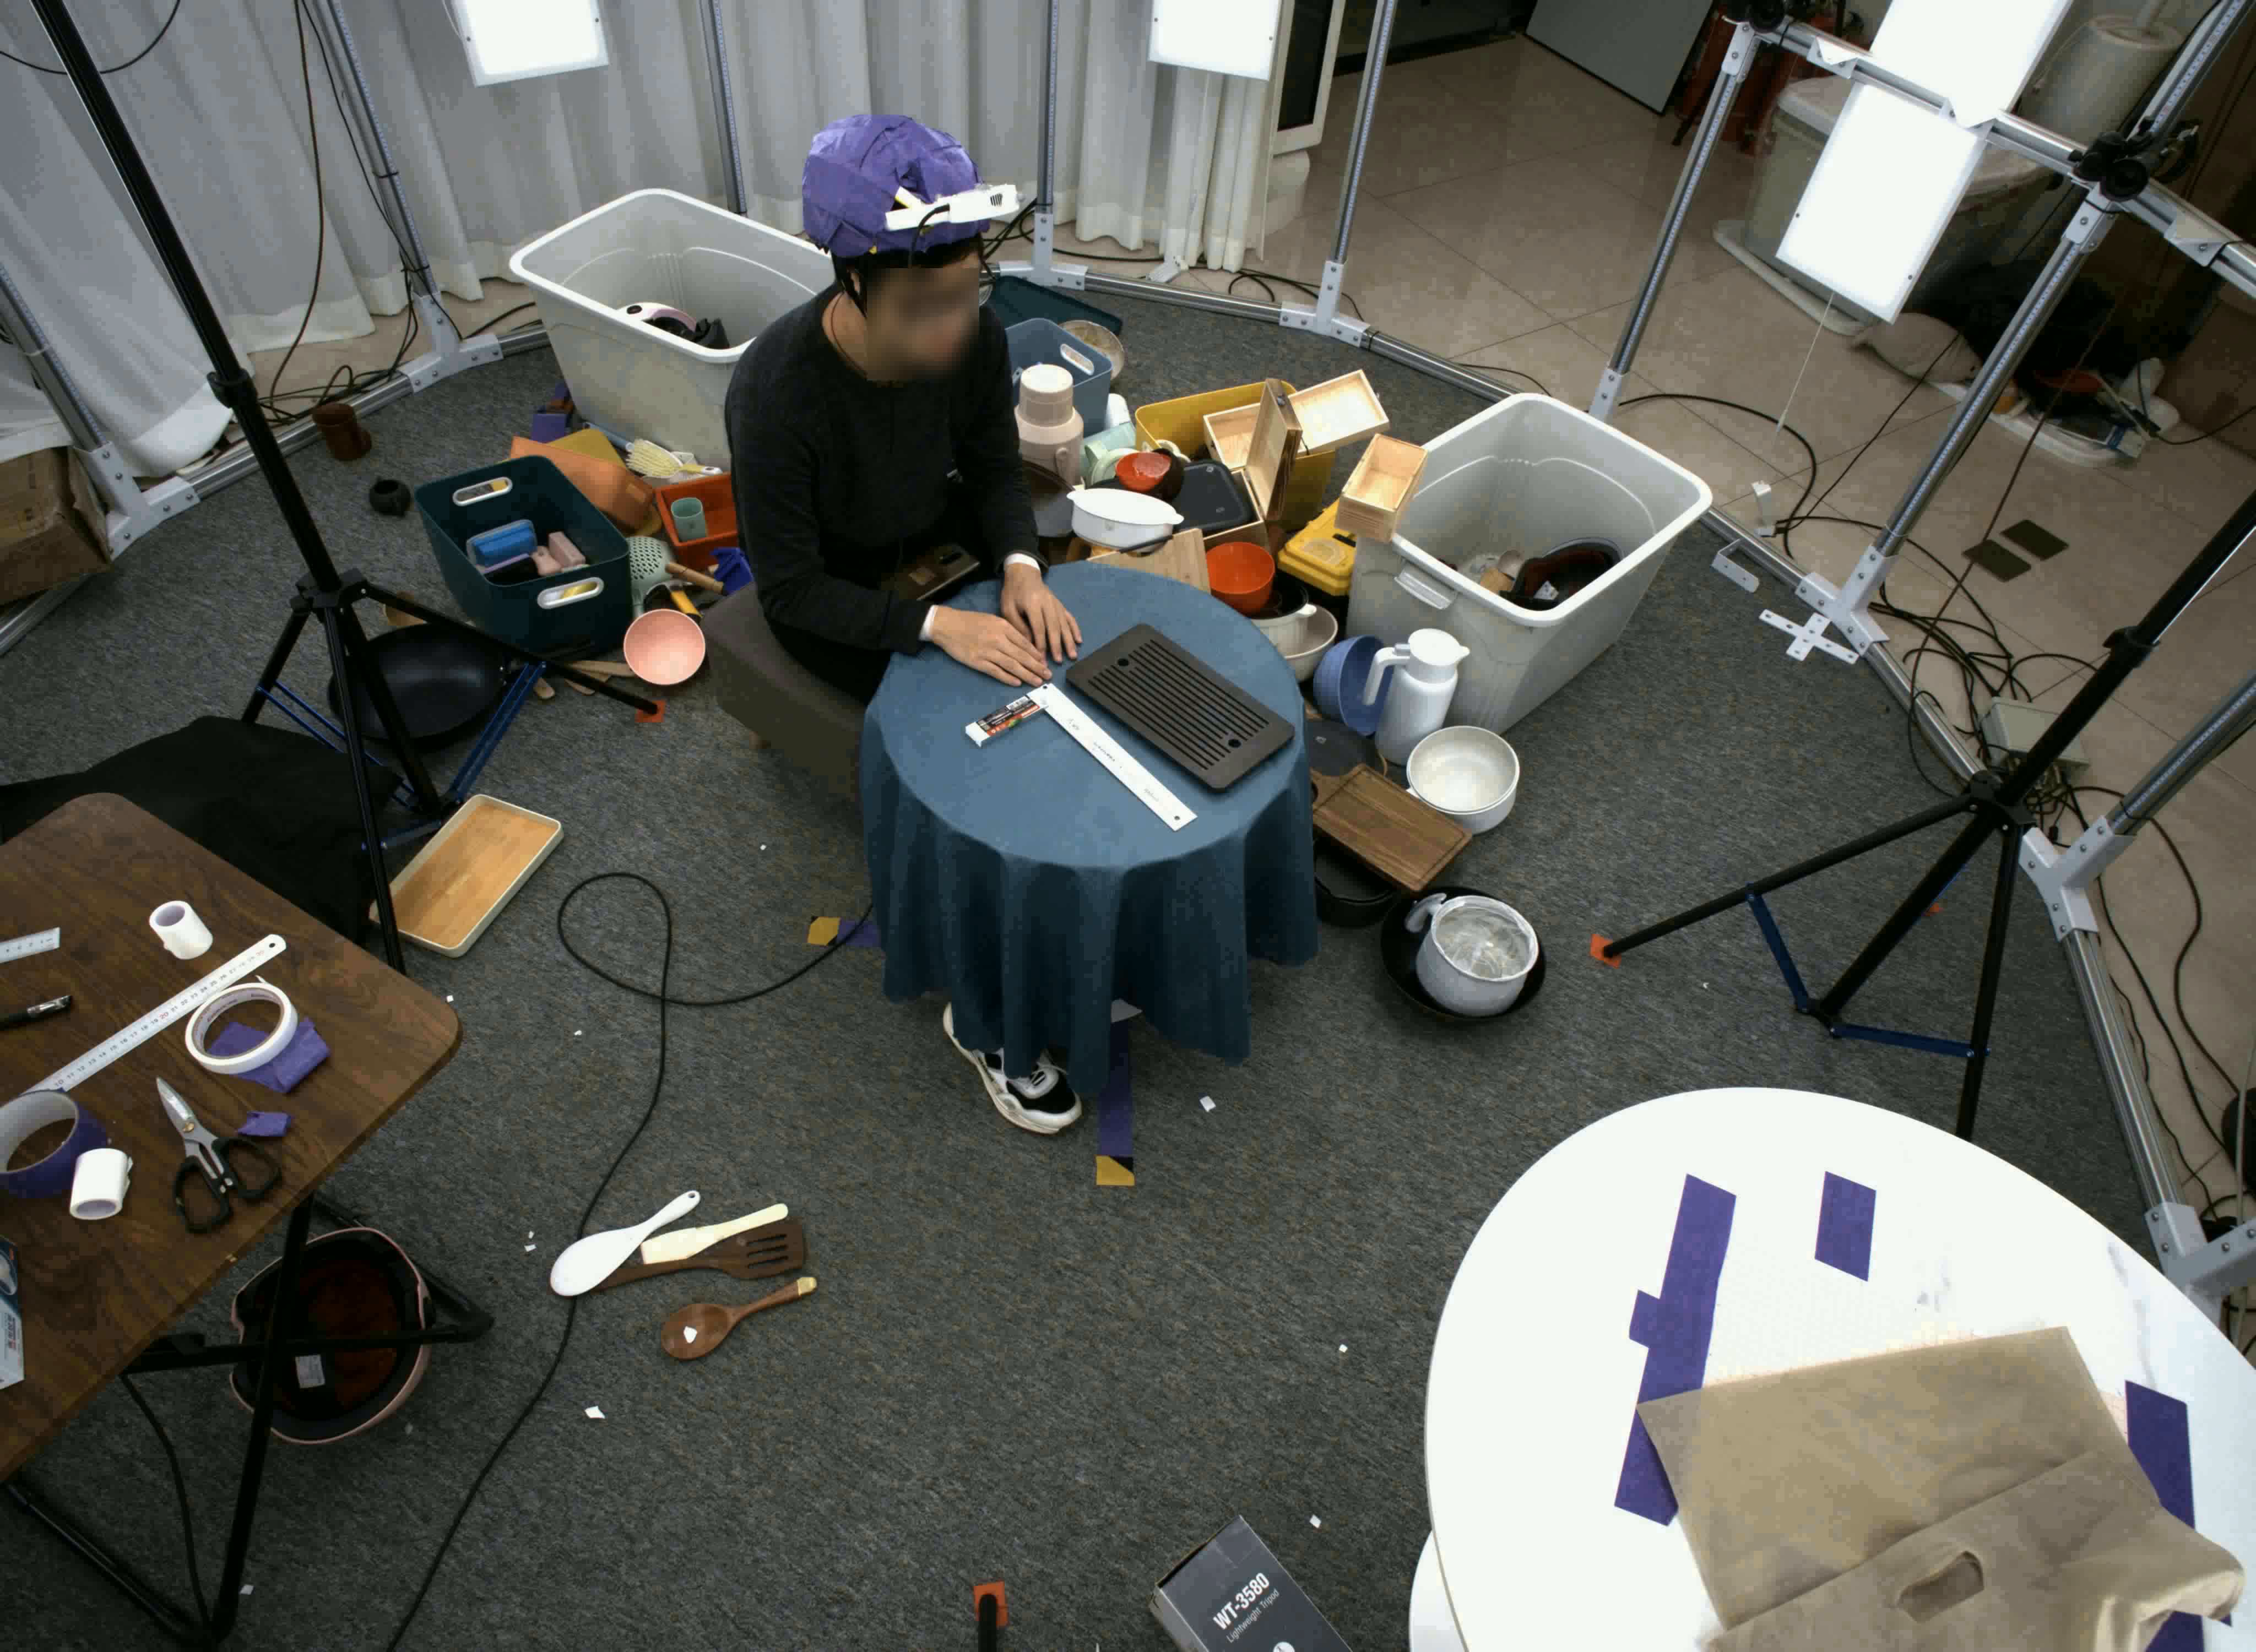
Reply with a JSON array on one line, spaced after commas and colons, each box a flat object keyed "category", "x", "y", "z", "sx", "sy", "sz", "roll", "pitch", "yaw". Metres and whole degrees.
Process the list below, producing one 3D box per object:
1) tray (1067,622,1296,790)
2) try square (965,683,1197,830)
[{"category": "tray", "x": 0.073, "y": -0.173, "z": 1.813, "sx": 0.171, "sy": 0.018, "sz": 0.310, "roll": -36, "pitch": 60, "yaw": -29}, {"category": "try square", "x": -0.067, "y": -0.075, "z": 1.724, "sx": 0.153, "sy": 0.015, "sz": 0.318, "roll": -31, "pitch": 58, "yaw": -27}]
